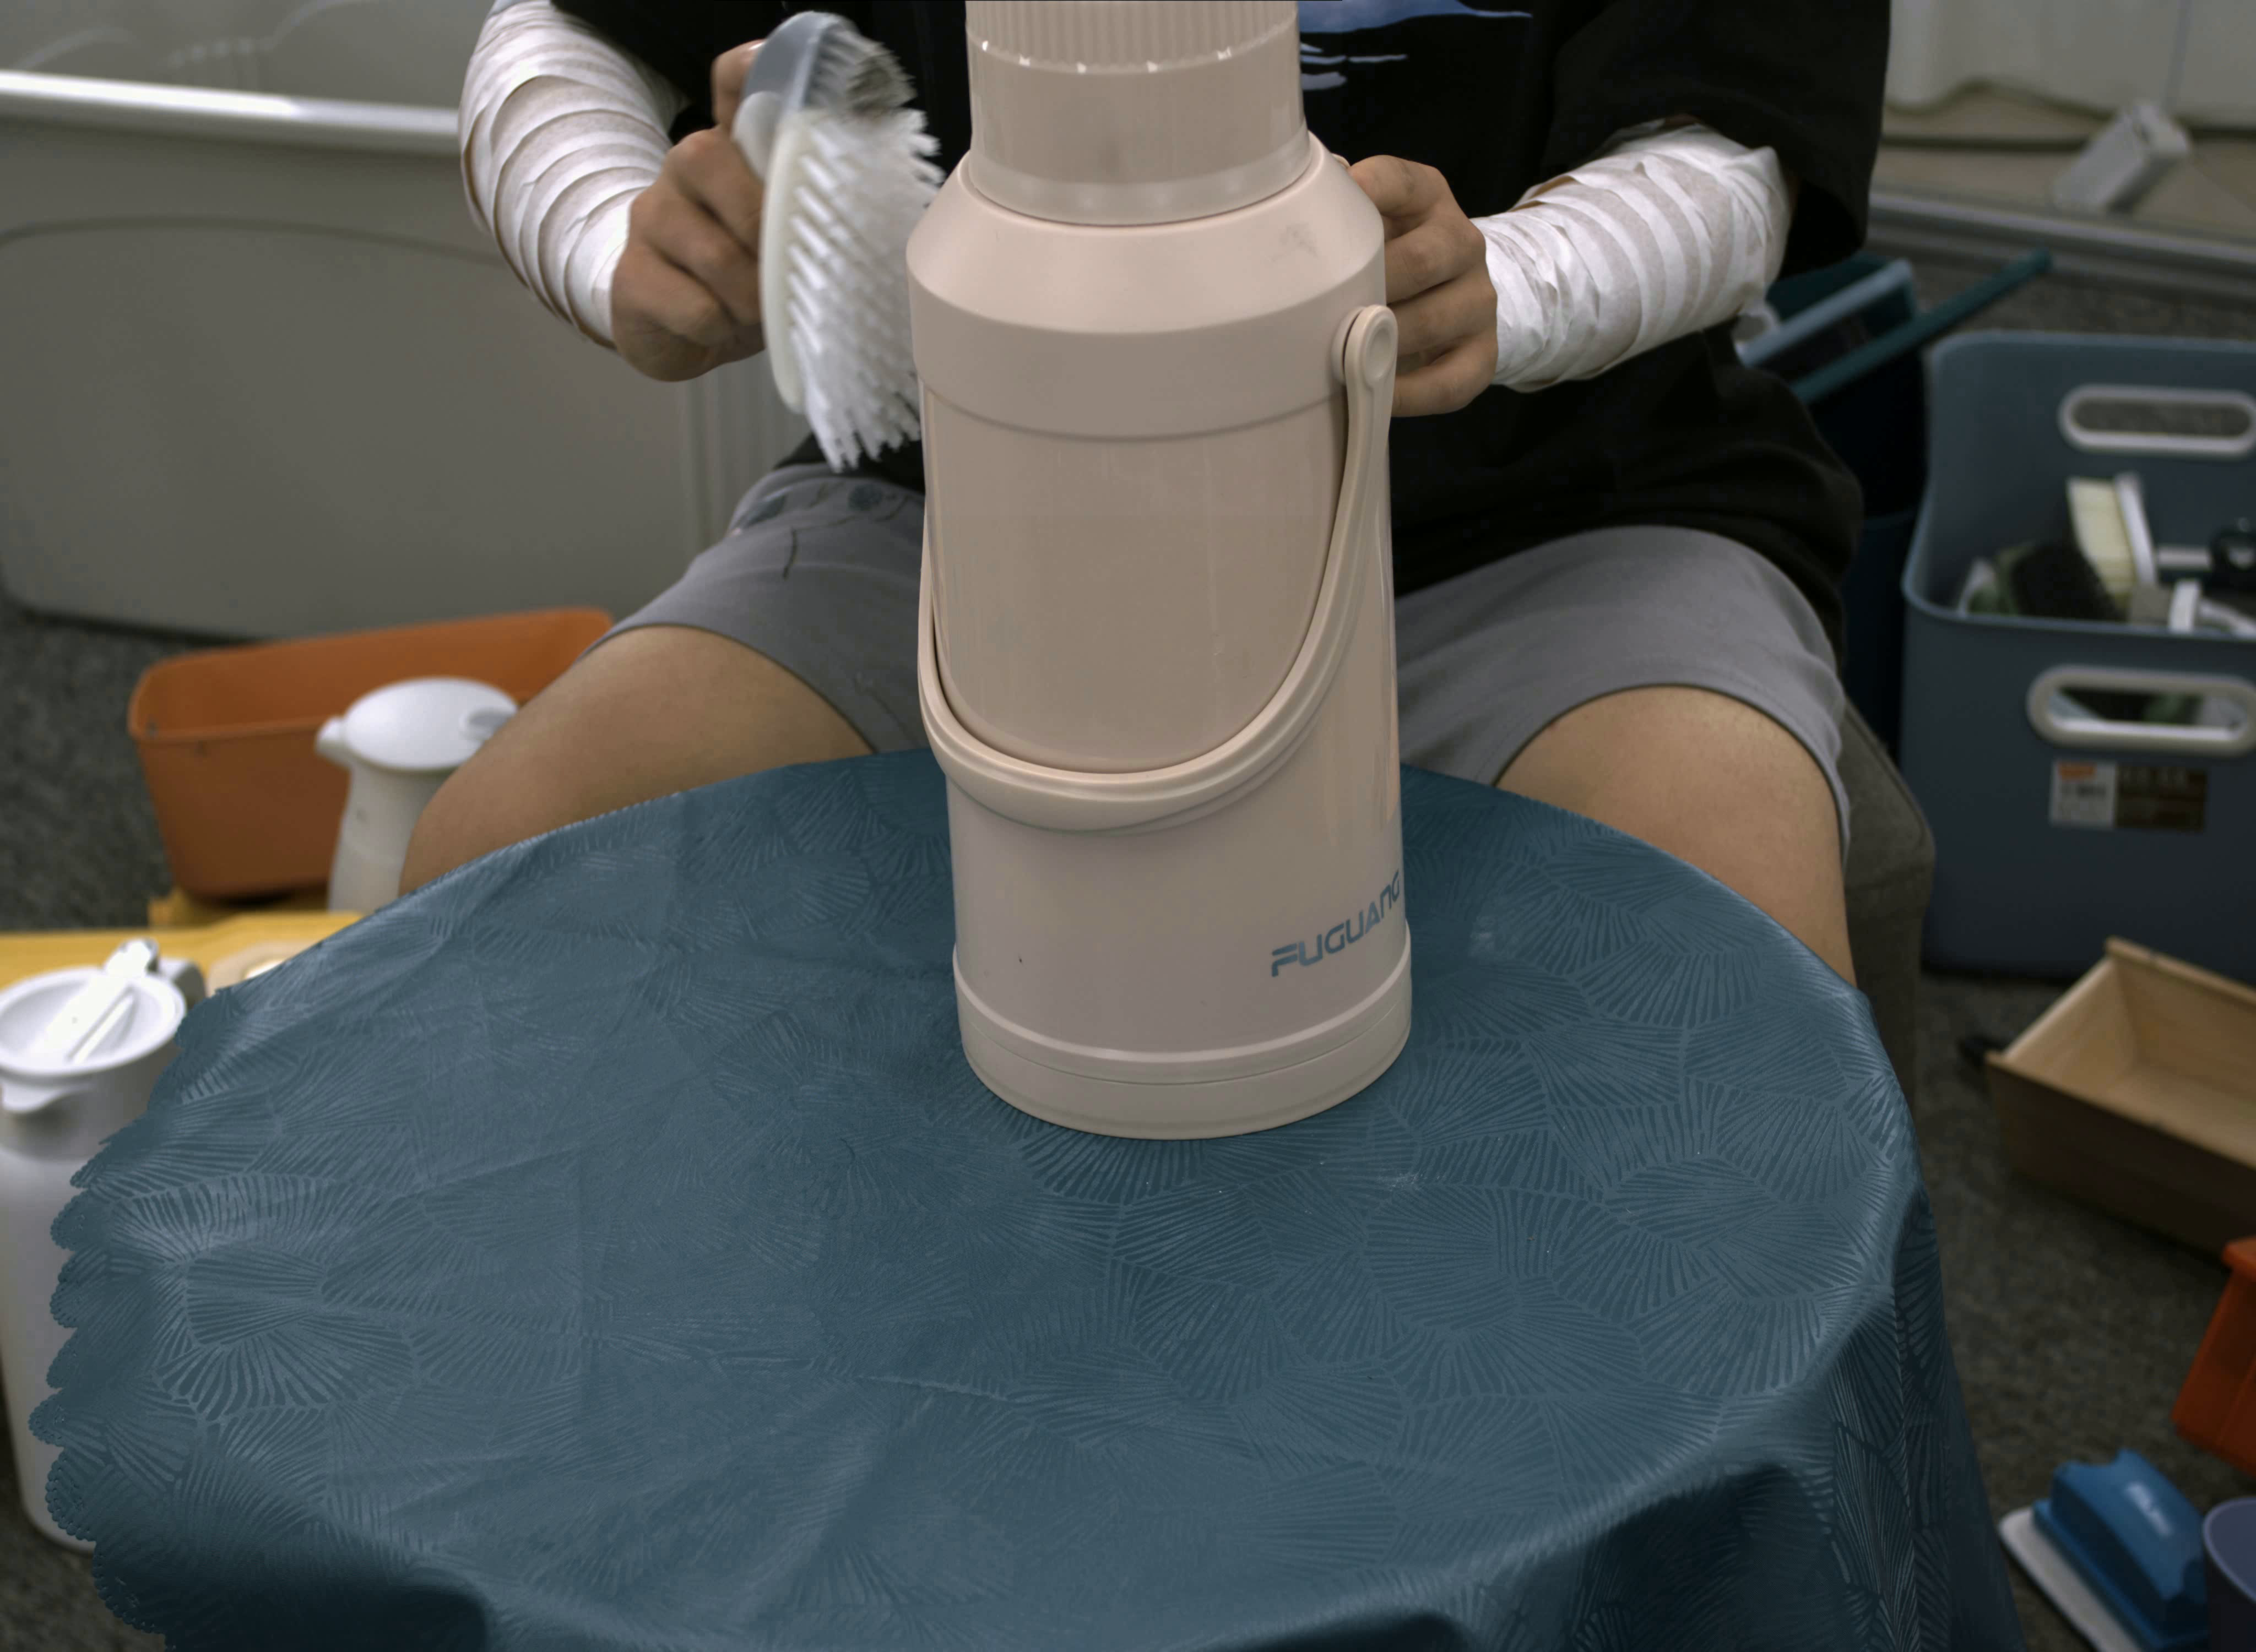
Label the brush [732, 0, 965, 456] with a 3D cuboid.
[{"bbox_3d":[-0.098,-0.219,1.922,0.062,0.172,0.095,-29,55,-26],"label":"brush"}]

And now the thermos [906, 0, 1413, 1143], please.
[{"bbox_3d":[0.019,-0.111,1.884,0.174,0.402,0.210,11,29,30],"label":"thermos"}]
